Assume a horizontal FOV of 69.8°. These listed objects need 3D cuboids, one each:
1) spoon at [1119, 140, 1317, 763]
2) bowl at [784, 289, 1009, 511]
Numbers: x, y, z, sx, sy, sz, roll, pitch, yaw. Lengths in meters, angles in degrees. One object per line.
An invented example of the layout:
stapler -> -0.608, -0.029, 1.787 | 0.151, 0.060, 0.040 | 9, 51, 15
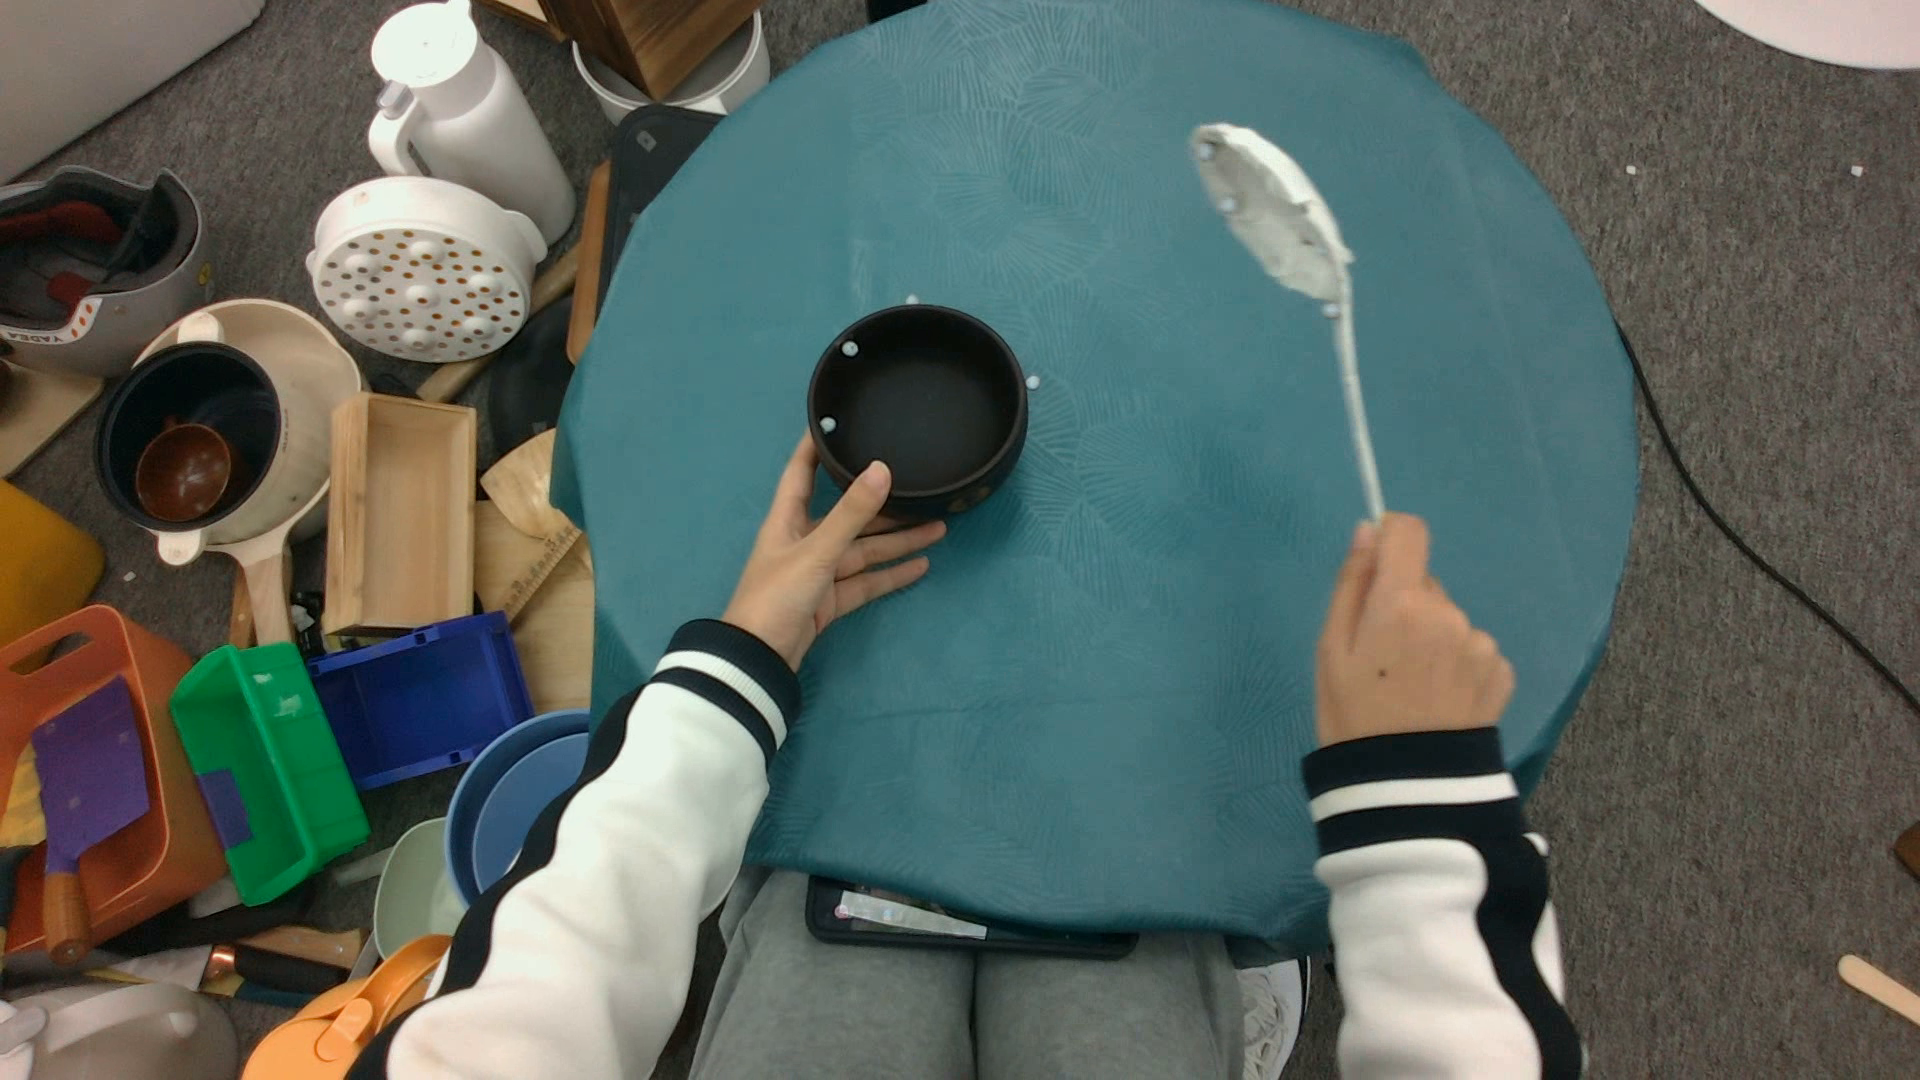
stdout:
spoon -> 0.113, -0.039, 0.611 | 0.059, 0.100, 0.277 | -2, 82, -16
bowl -> -0.033, -0.069, 0.744 | 0.118, 0.069, 0.118 | -1, 69, 2
